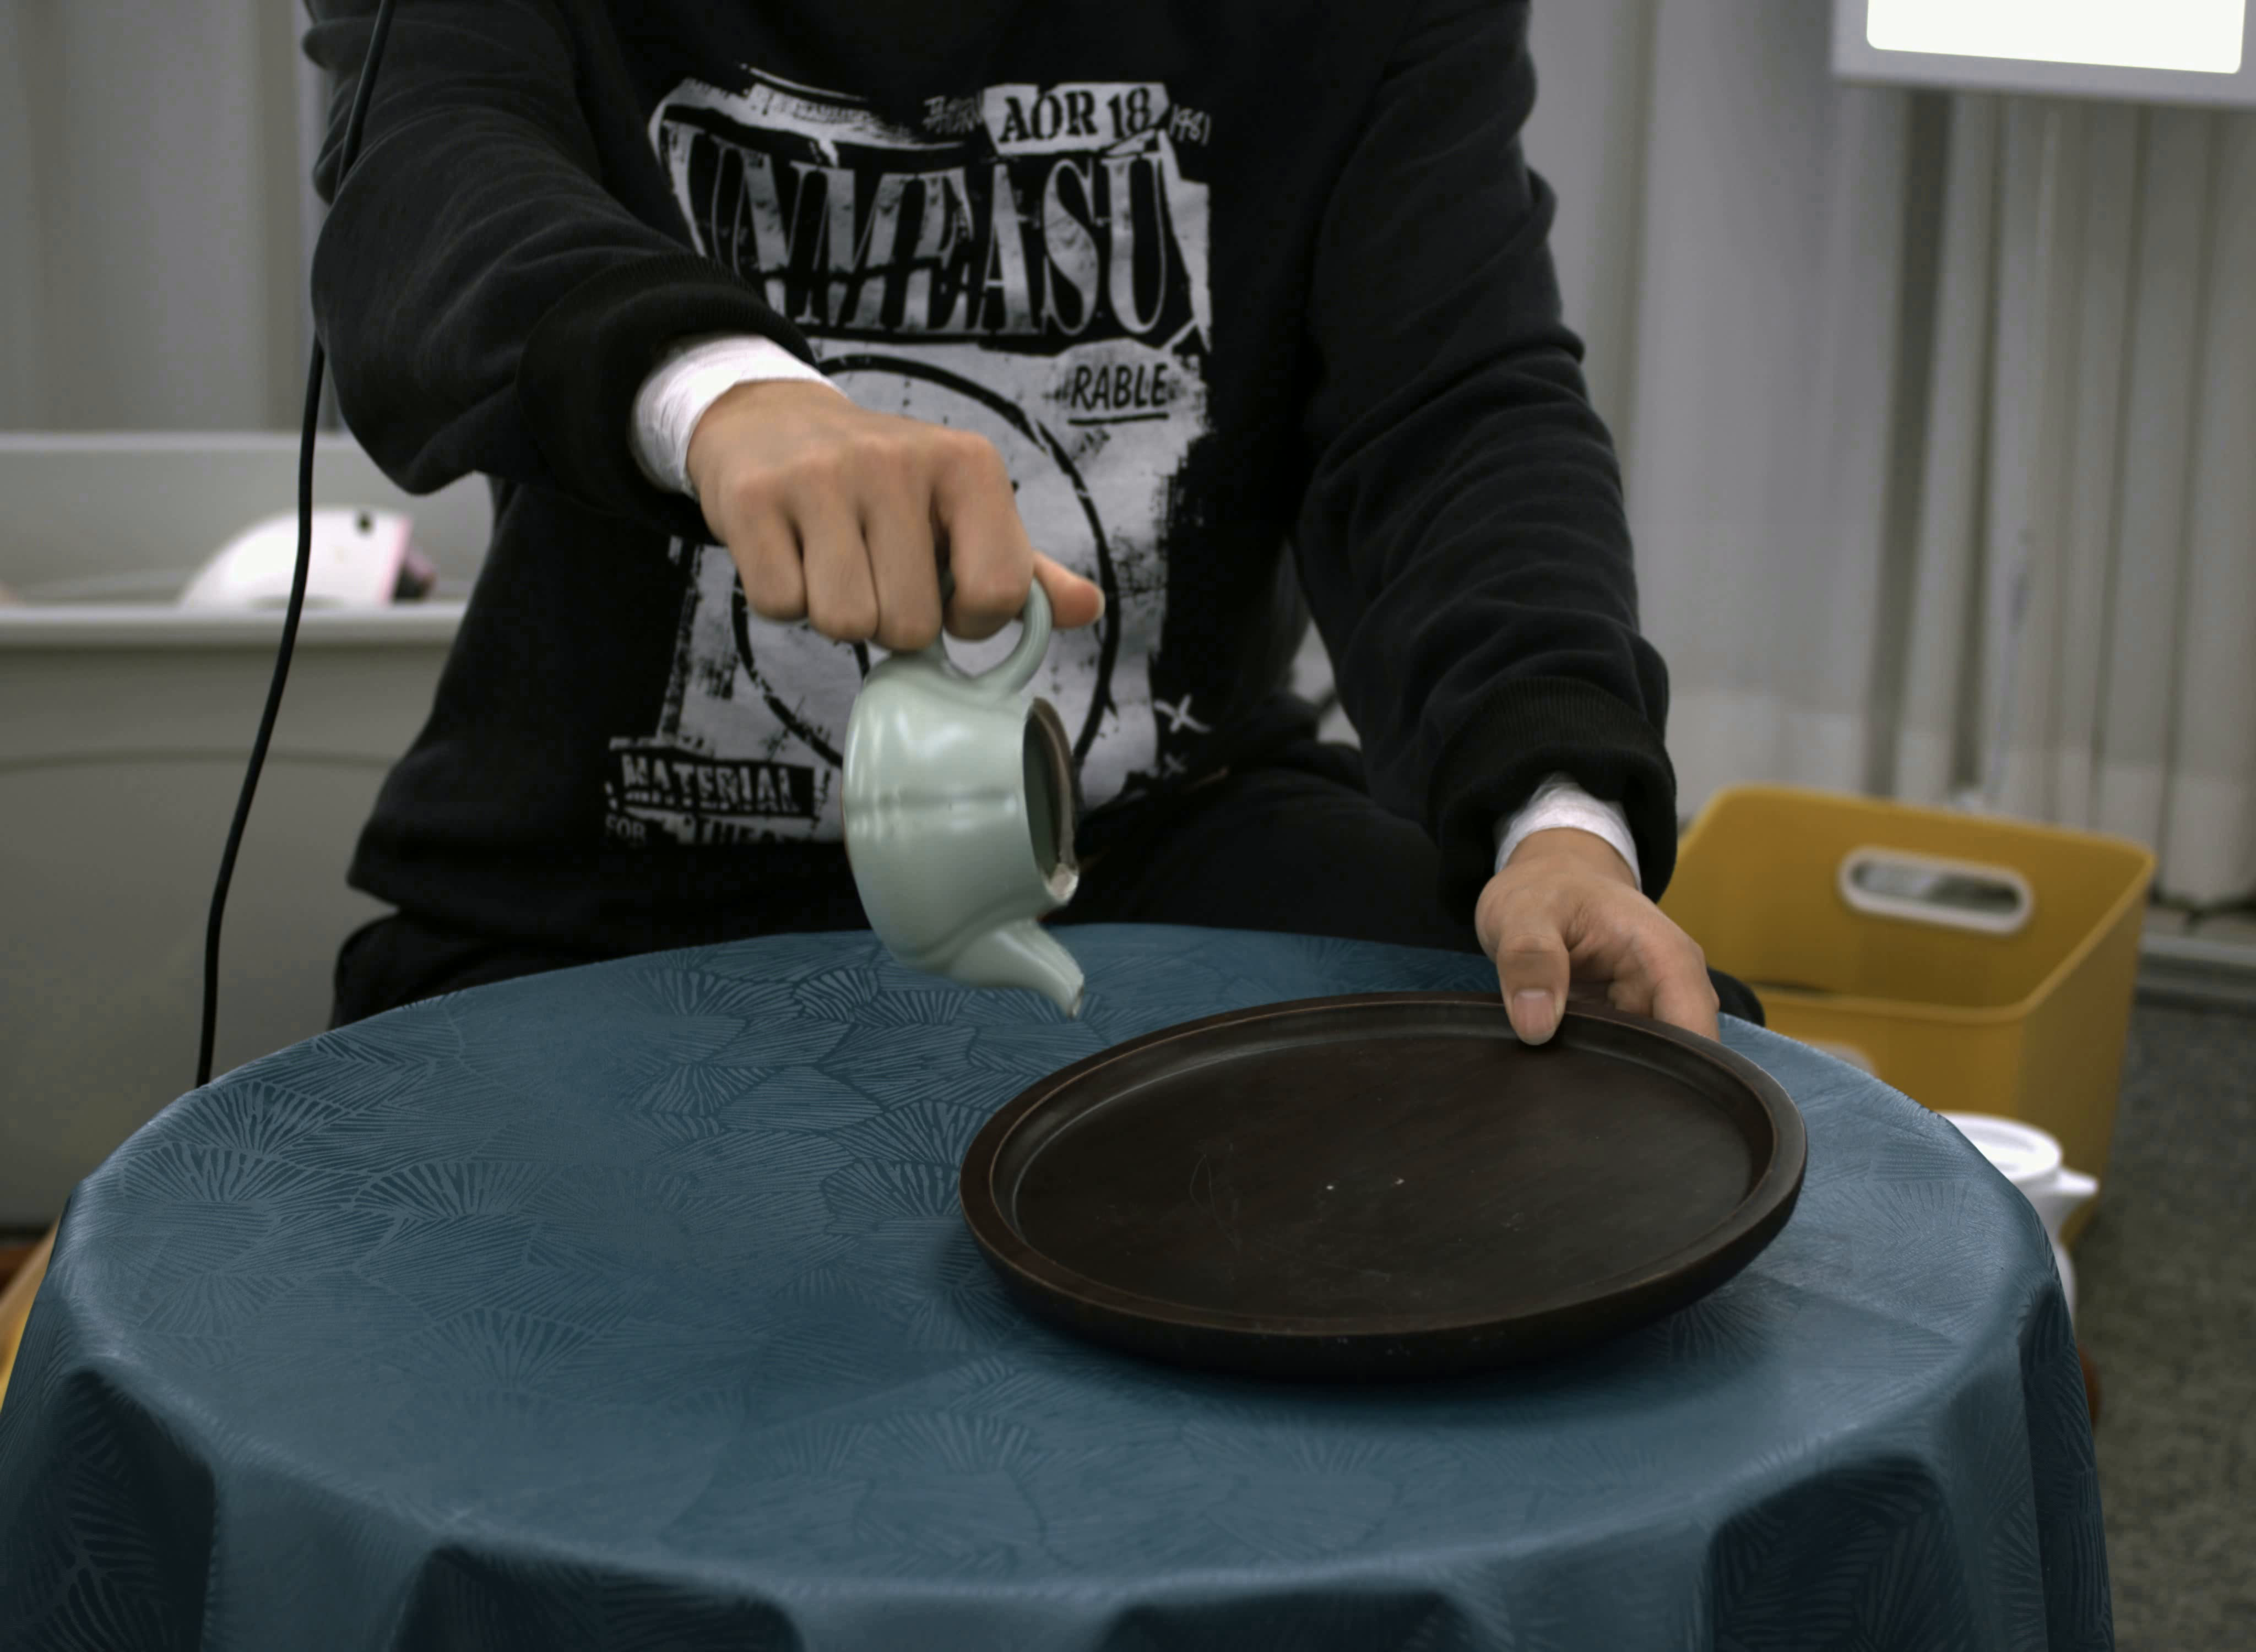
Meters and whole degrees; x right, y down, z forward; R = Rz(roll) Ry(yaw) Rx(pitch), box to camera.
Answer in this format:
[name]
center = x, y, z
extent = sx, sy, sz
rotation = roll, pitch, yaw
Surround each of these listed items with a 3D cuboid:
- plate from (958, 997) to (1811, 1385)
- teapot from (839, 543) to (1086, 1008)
[plate]
center = 0.076, 0.105, 1.562
extent = 0.254, 0.029, 0.253
rotation = -4, 21, 2
[teapot]
center = -0.048, -0.013, 1.532
extent = 0.061, 0.137, 0.096
rotation = -4, 4, 16
